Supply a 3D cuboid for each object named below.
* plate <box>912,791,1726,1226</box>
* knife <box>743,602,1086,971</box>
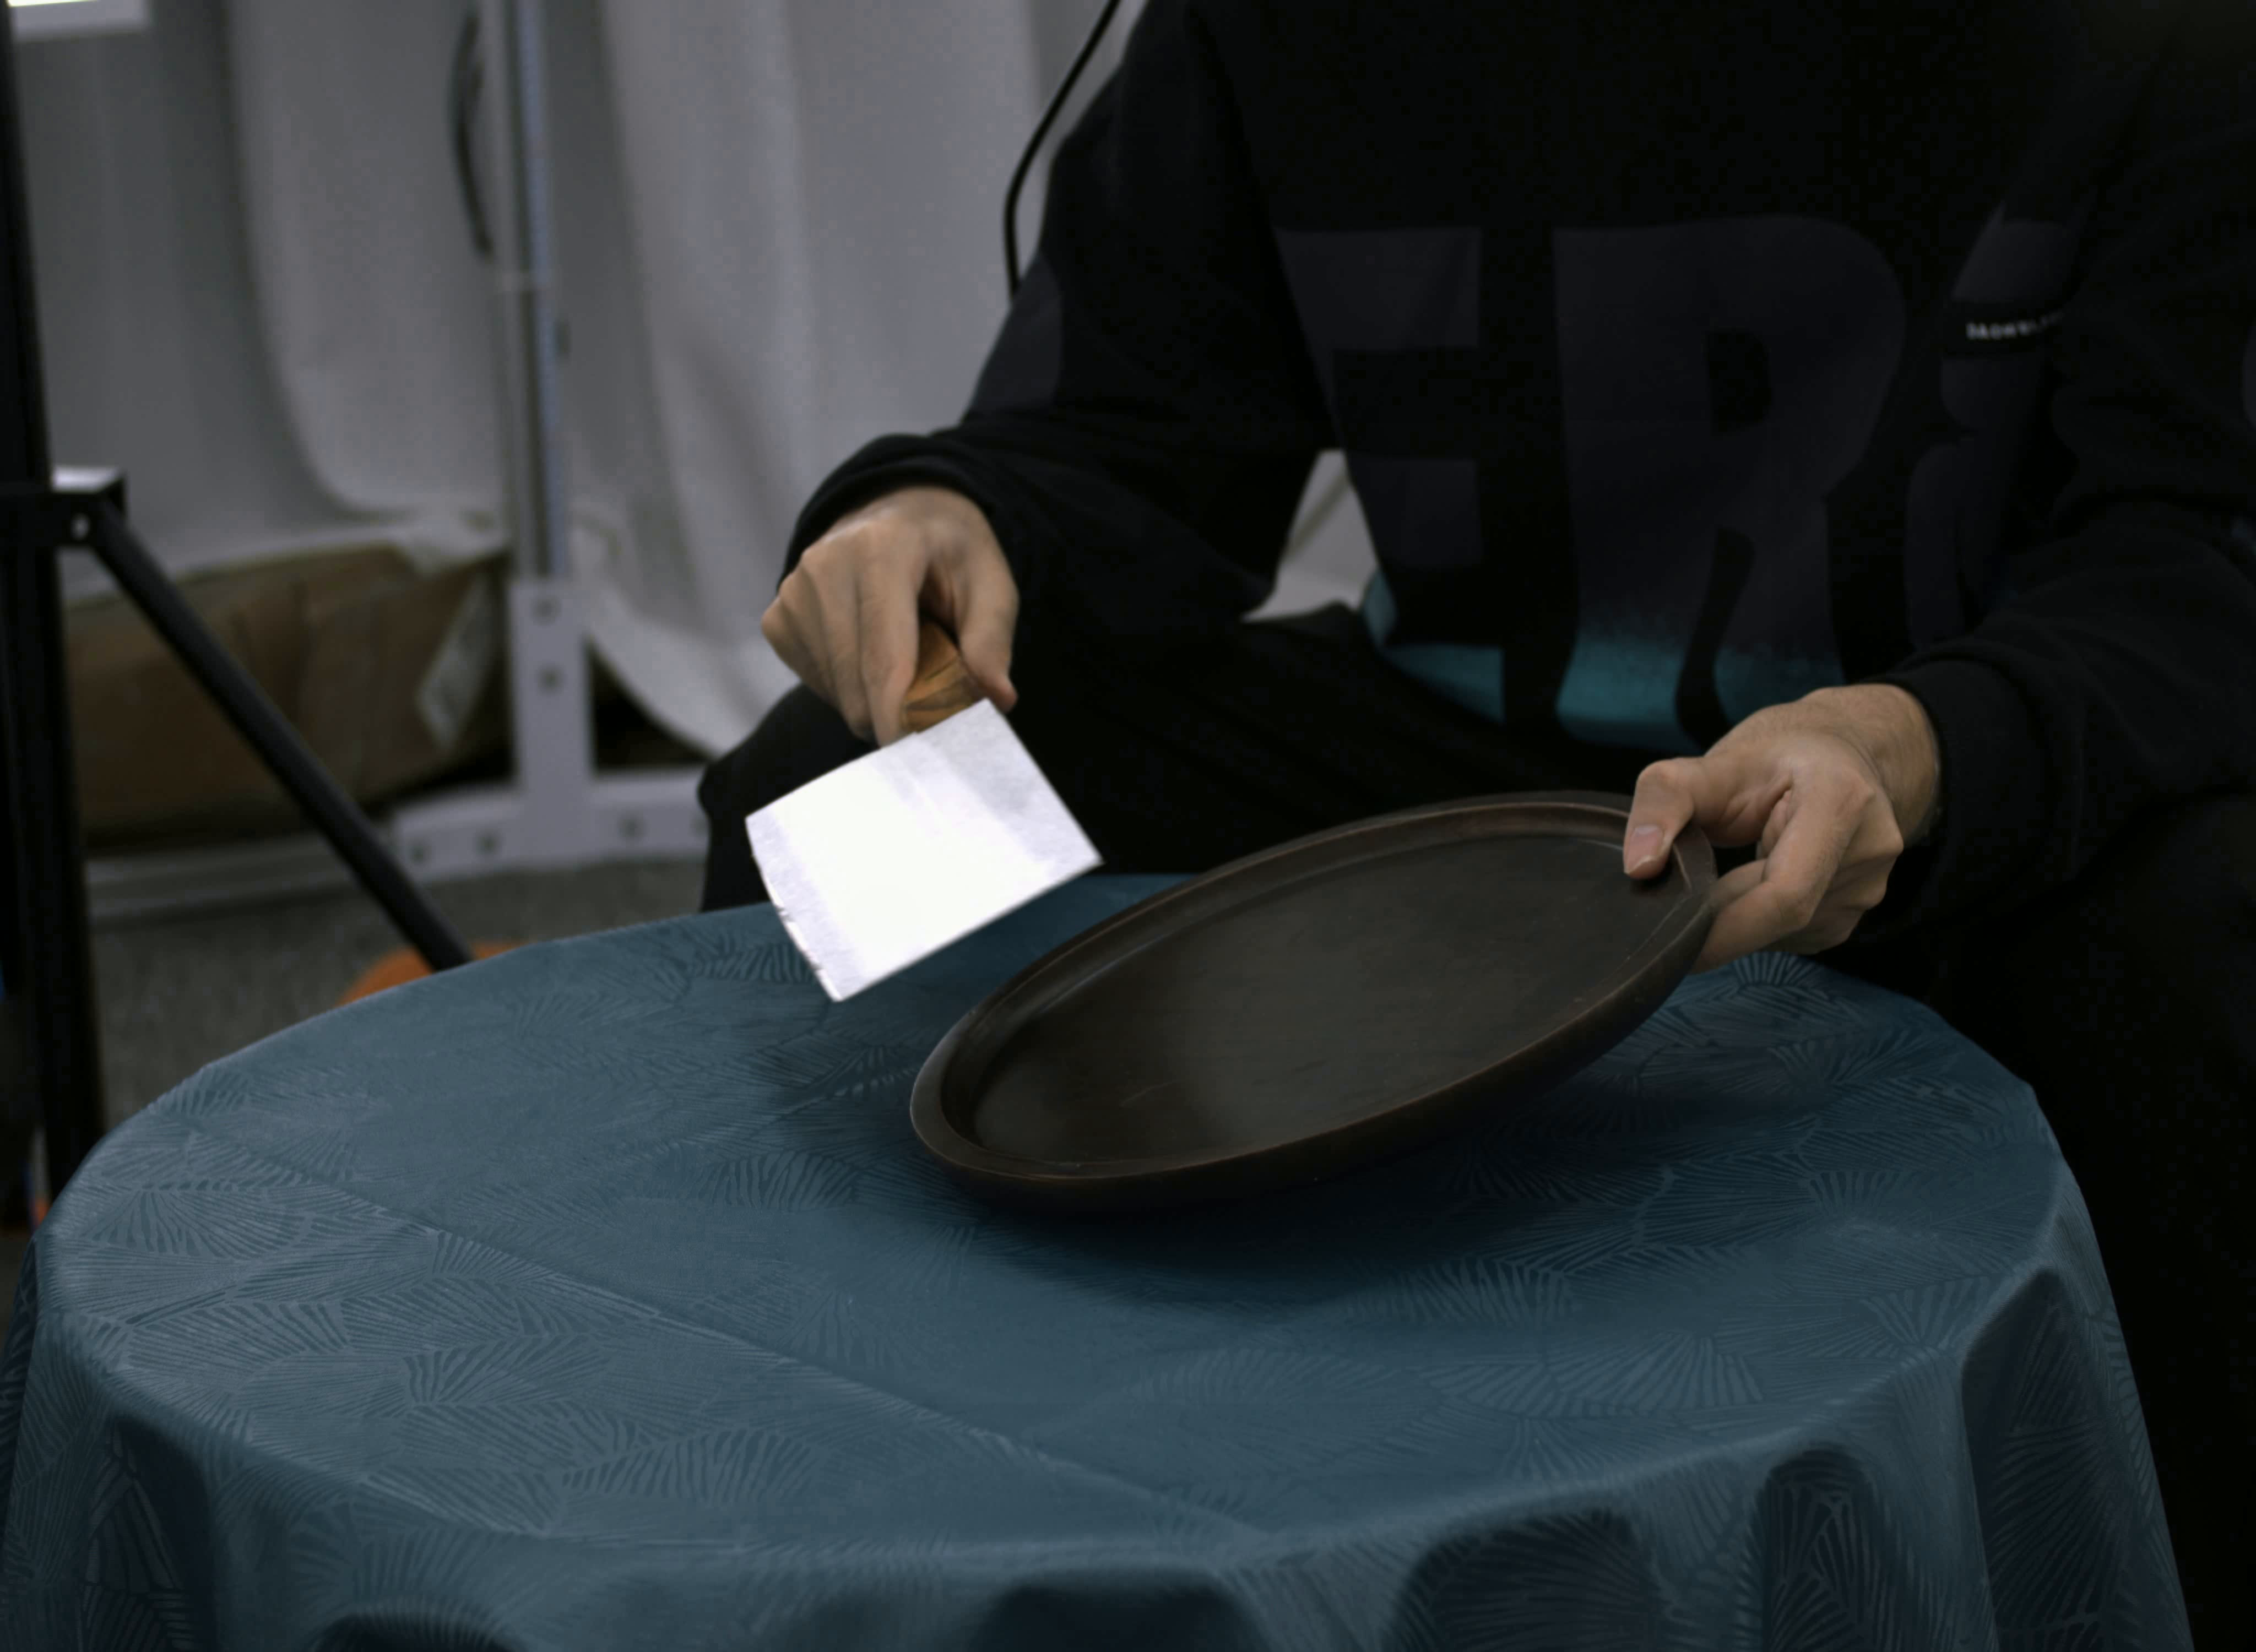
[{"bbox_3d":[0.057,0.053,1.583,0.254,0.029,0.256,-17,19,4],"label":"plate"},{"bbox_3d":[-0.079,-0.012,1.706,0.092,0.021,0.309,-30,20,-2],"label":"knife"}]
